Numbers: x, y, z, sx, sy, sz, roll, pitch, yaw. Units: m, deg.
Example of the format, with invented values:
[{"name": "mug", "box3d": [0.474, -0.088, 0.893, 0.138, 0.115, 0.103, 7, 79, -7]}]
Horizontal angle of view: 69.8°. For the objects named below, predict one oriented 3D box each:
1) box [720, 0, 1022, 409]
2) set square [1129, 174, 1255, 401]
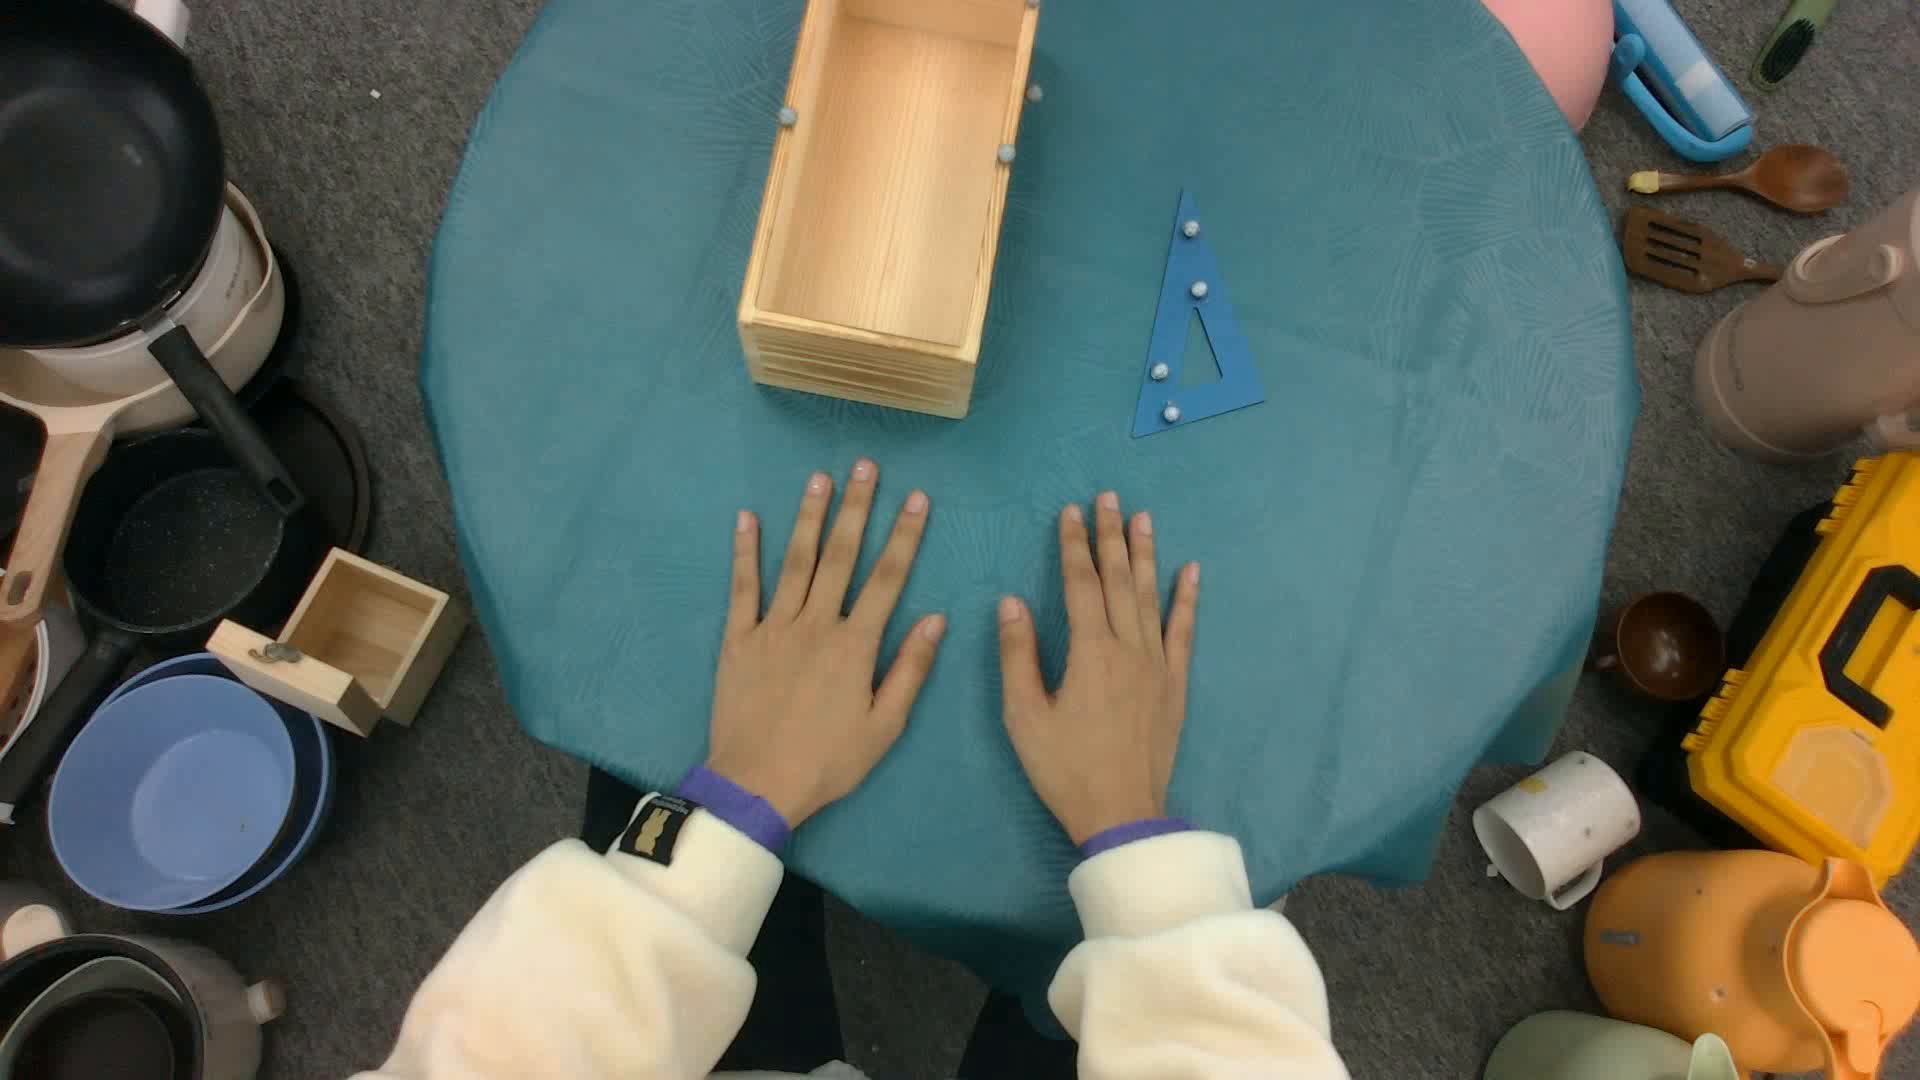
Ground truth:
[{"name": "box", "box3d": [-0.037, -0.180, 0.656, 0.107, 0.080, 0.212, 9, 75, -1]}, {"name": "set square", "box3d": [0.128, -0.122, 0.693, 0.061, 0.006, 0.132, 17, 75, 1]}]
